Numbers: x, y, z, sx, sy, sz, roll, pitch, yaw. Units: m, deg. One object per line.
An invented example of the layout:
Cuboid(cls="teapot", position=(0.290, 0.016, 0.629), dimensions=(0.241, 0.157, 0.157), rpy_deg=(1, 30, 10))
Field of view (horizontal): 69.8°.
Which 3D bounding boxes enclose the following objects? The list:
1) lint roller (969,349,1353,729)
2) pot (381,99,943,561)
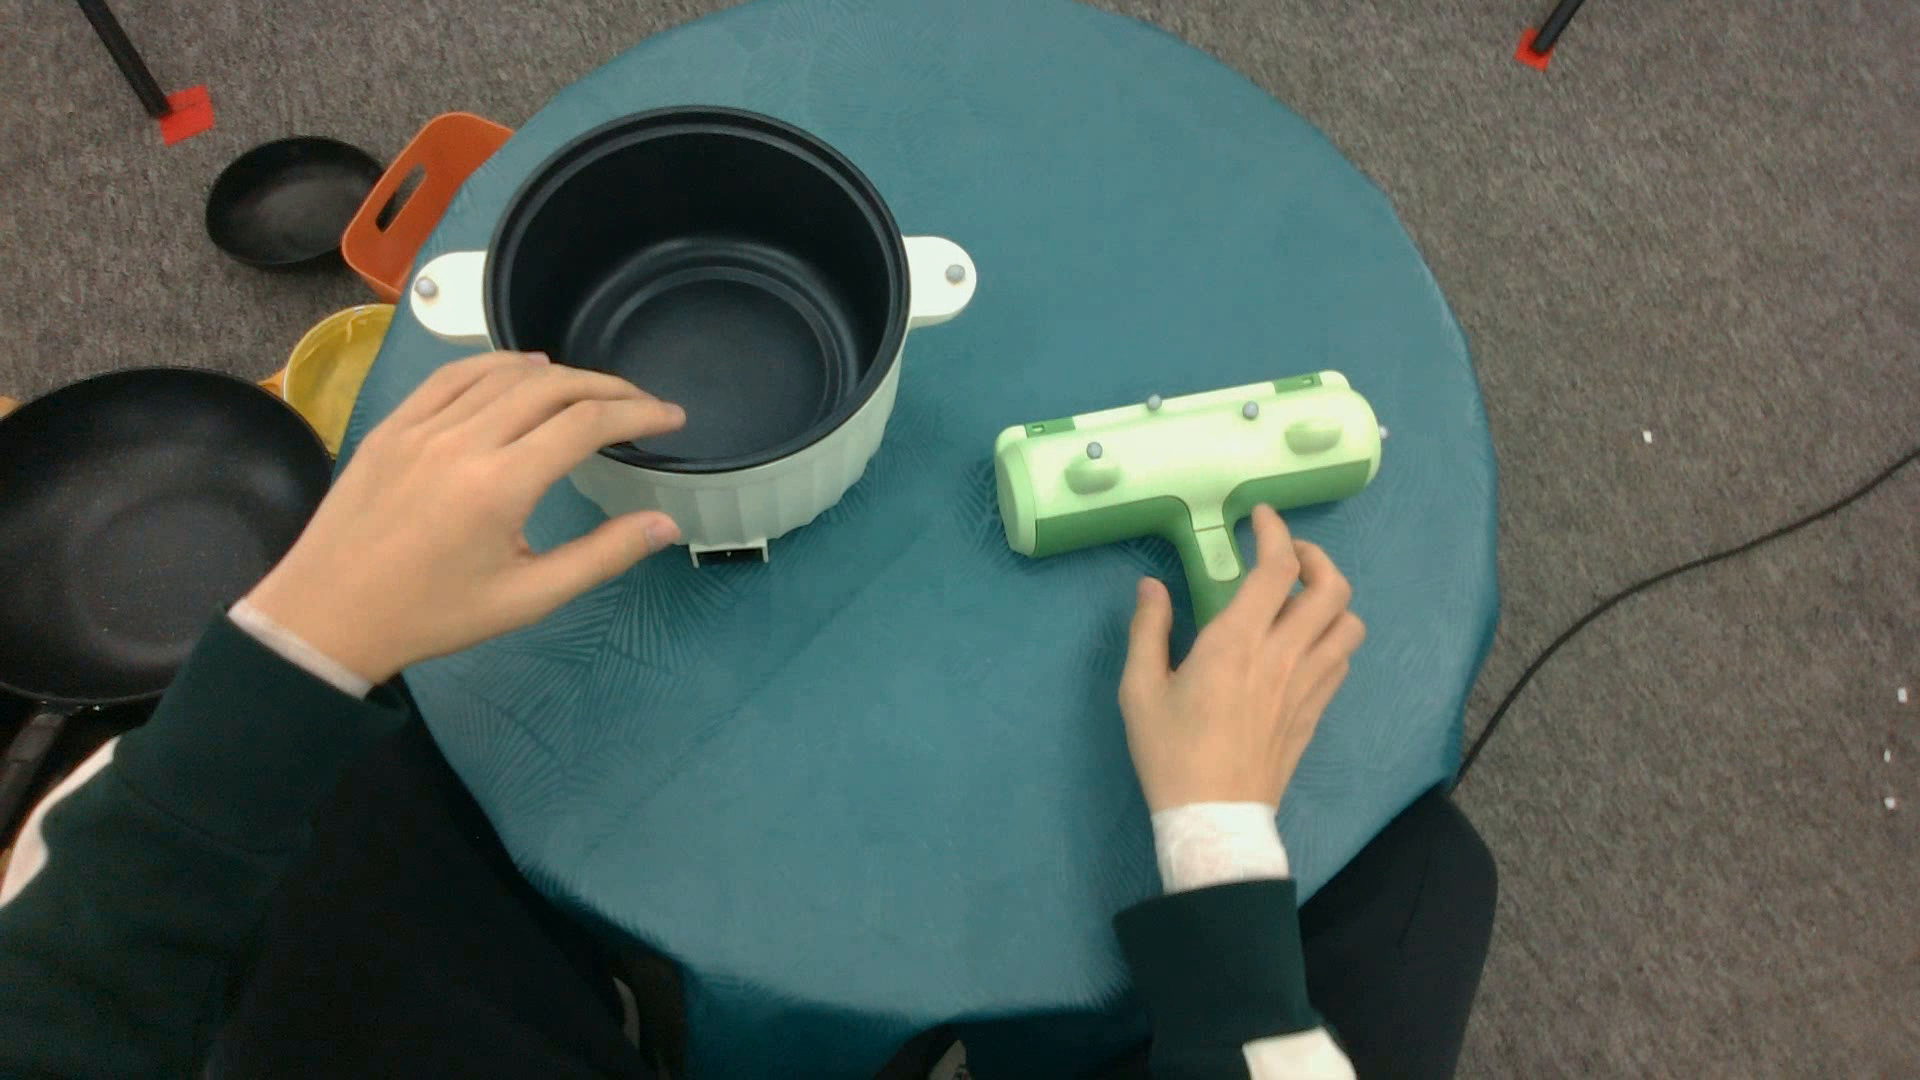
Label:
Cuboid(cls="lint roller", position=(0.120, -0.002, 0.684), dimensions=(0.199, 0.082, 0.184), rpy_deg=(-12, 67, -11))
Cuboid(cls="pot", position=(-0.134, -0.098, 0.656), dimensions=(0.240, 0.142, 0.191), rpy_deg=(-6, 74, -10))
